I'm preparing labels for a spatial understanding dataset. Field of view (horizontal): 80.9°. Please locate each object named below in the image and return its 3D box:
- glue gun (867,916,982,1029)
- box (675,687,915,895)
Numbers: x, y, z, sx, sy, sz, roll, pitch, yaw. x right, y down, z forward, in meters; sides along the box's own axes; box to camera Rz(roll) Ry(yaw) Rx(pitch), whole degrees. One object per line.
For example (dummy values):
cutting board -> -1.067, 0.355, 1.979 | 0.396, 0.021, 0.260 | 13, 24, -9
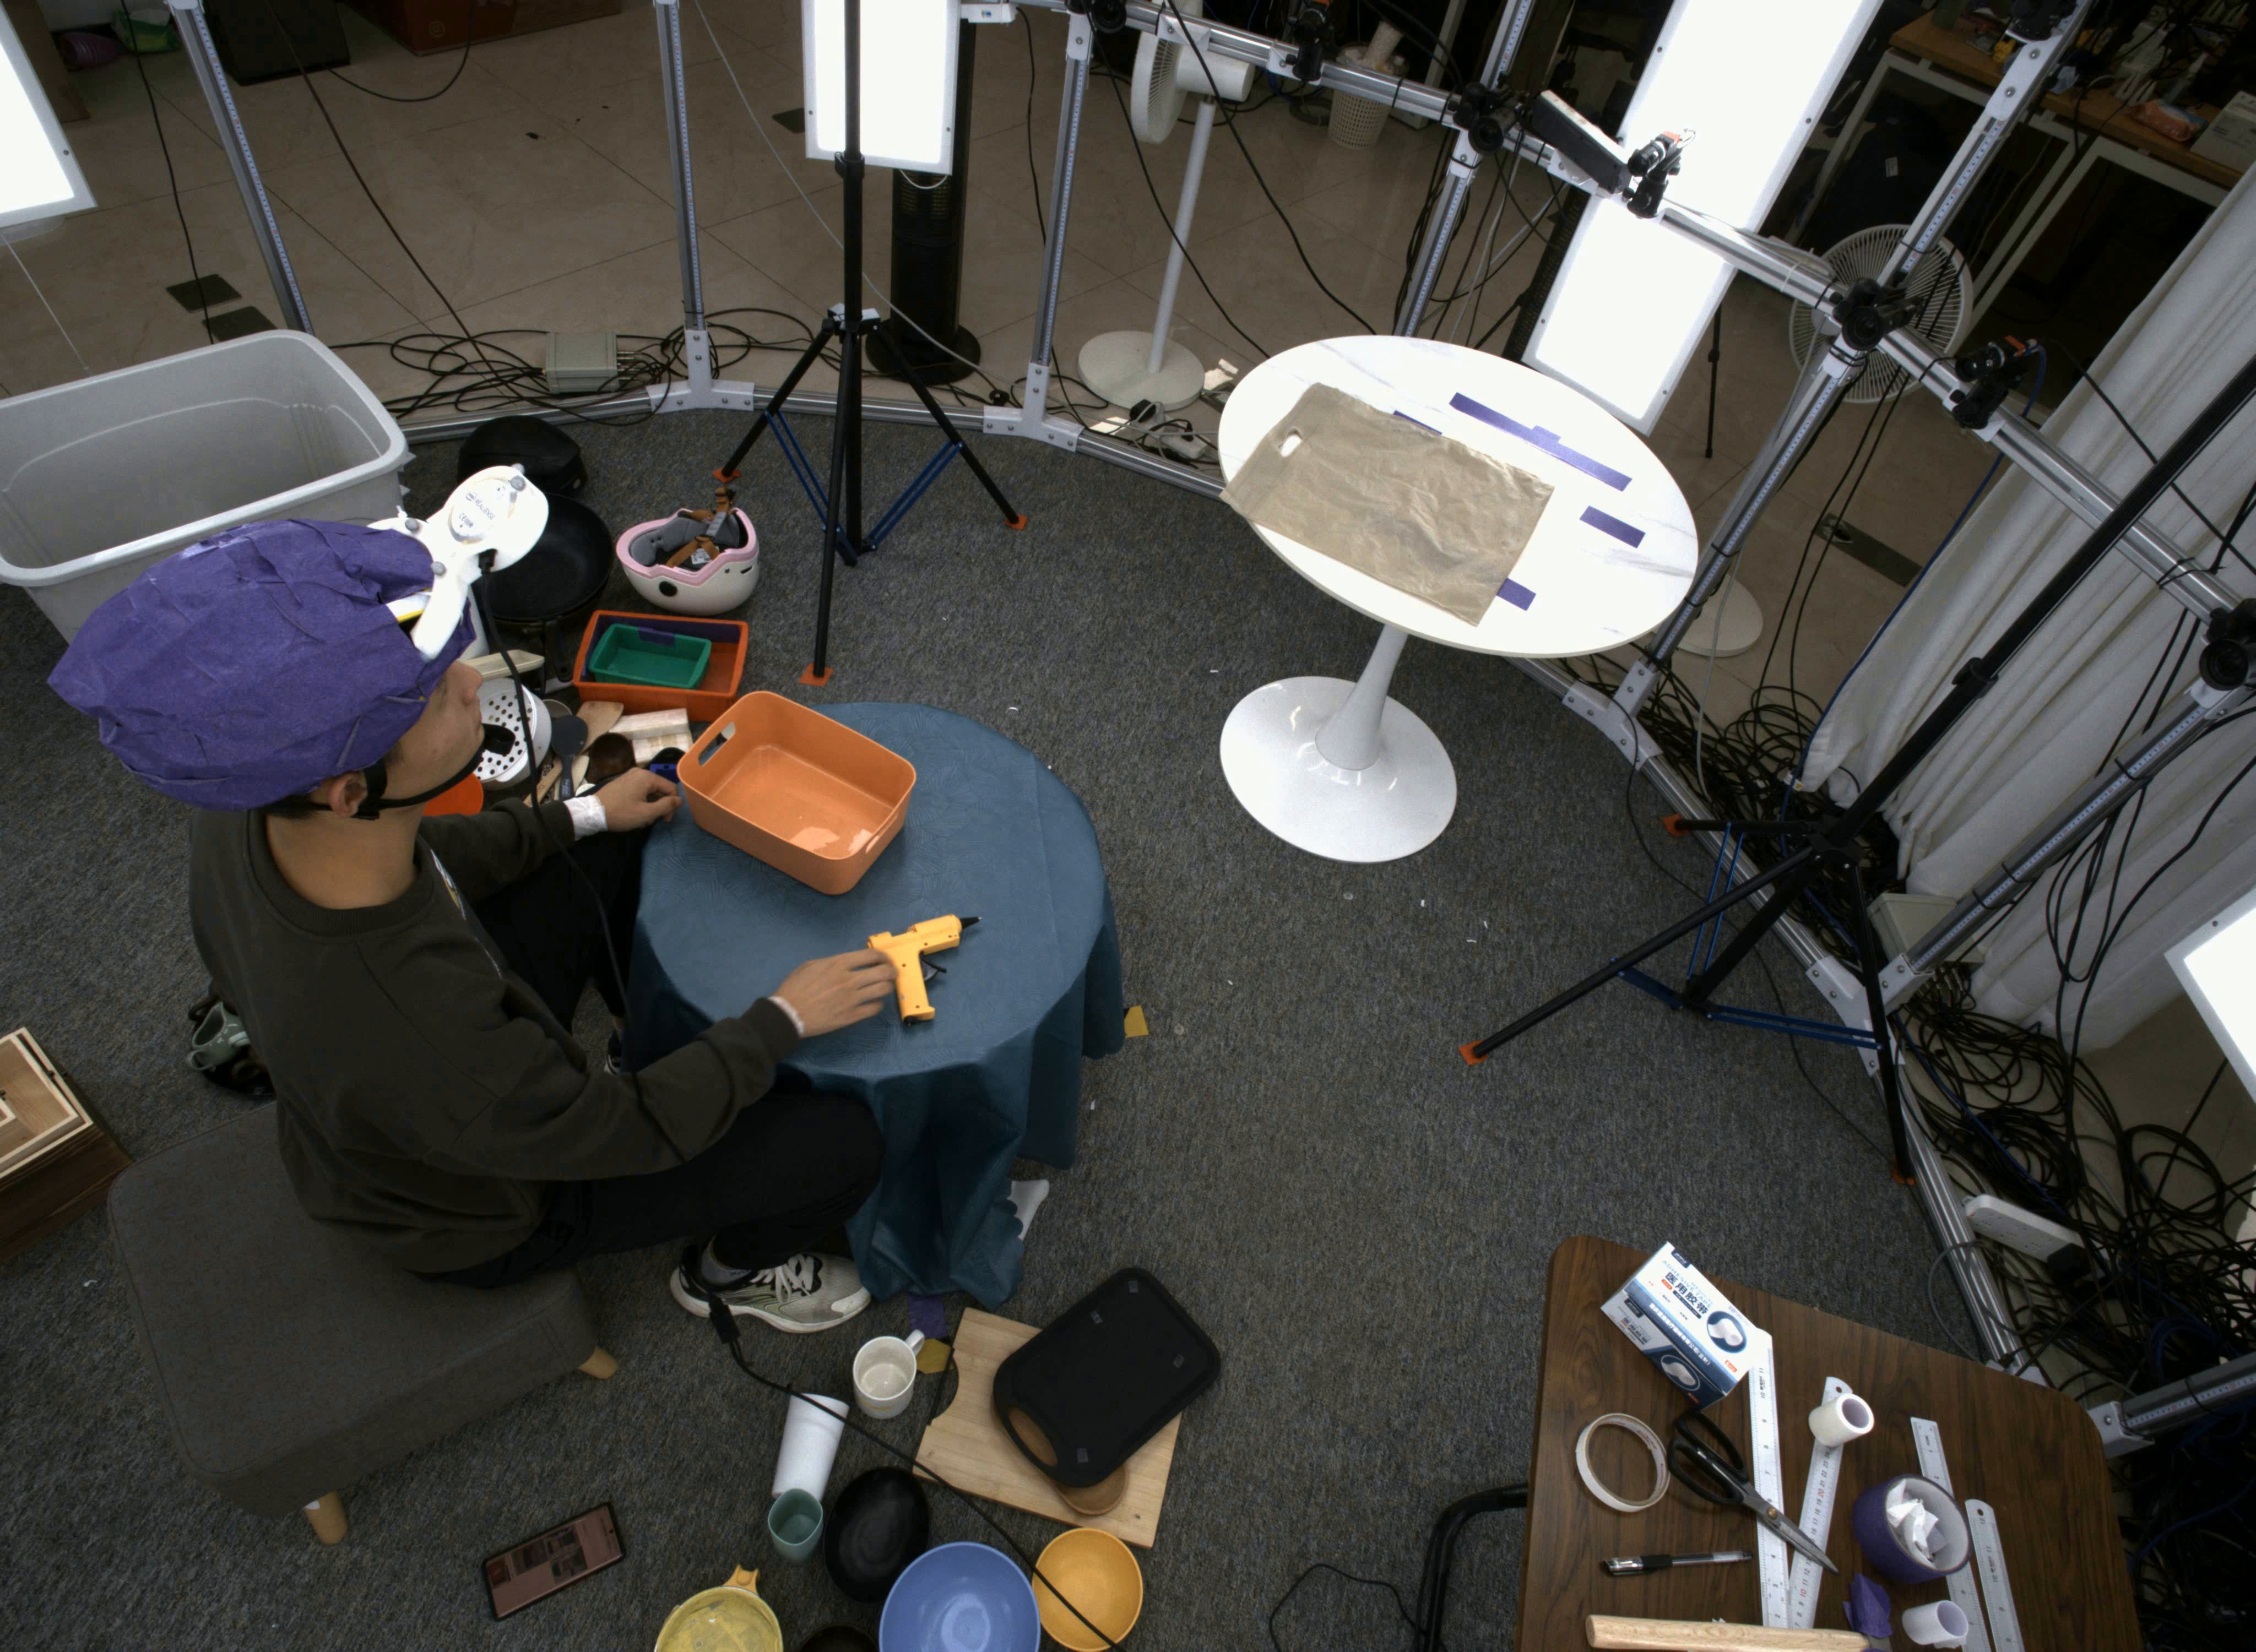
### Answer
glue gun -> -0.234, 0.170, 1.625 | 0.152, 0.031, 0.130 | -19, 62, -26
box -> -0.430, -0.041, 1.681 | 0.269, 0.104, 0.198 | 27, 52, 6
